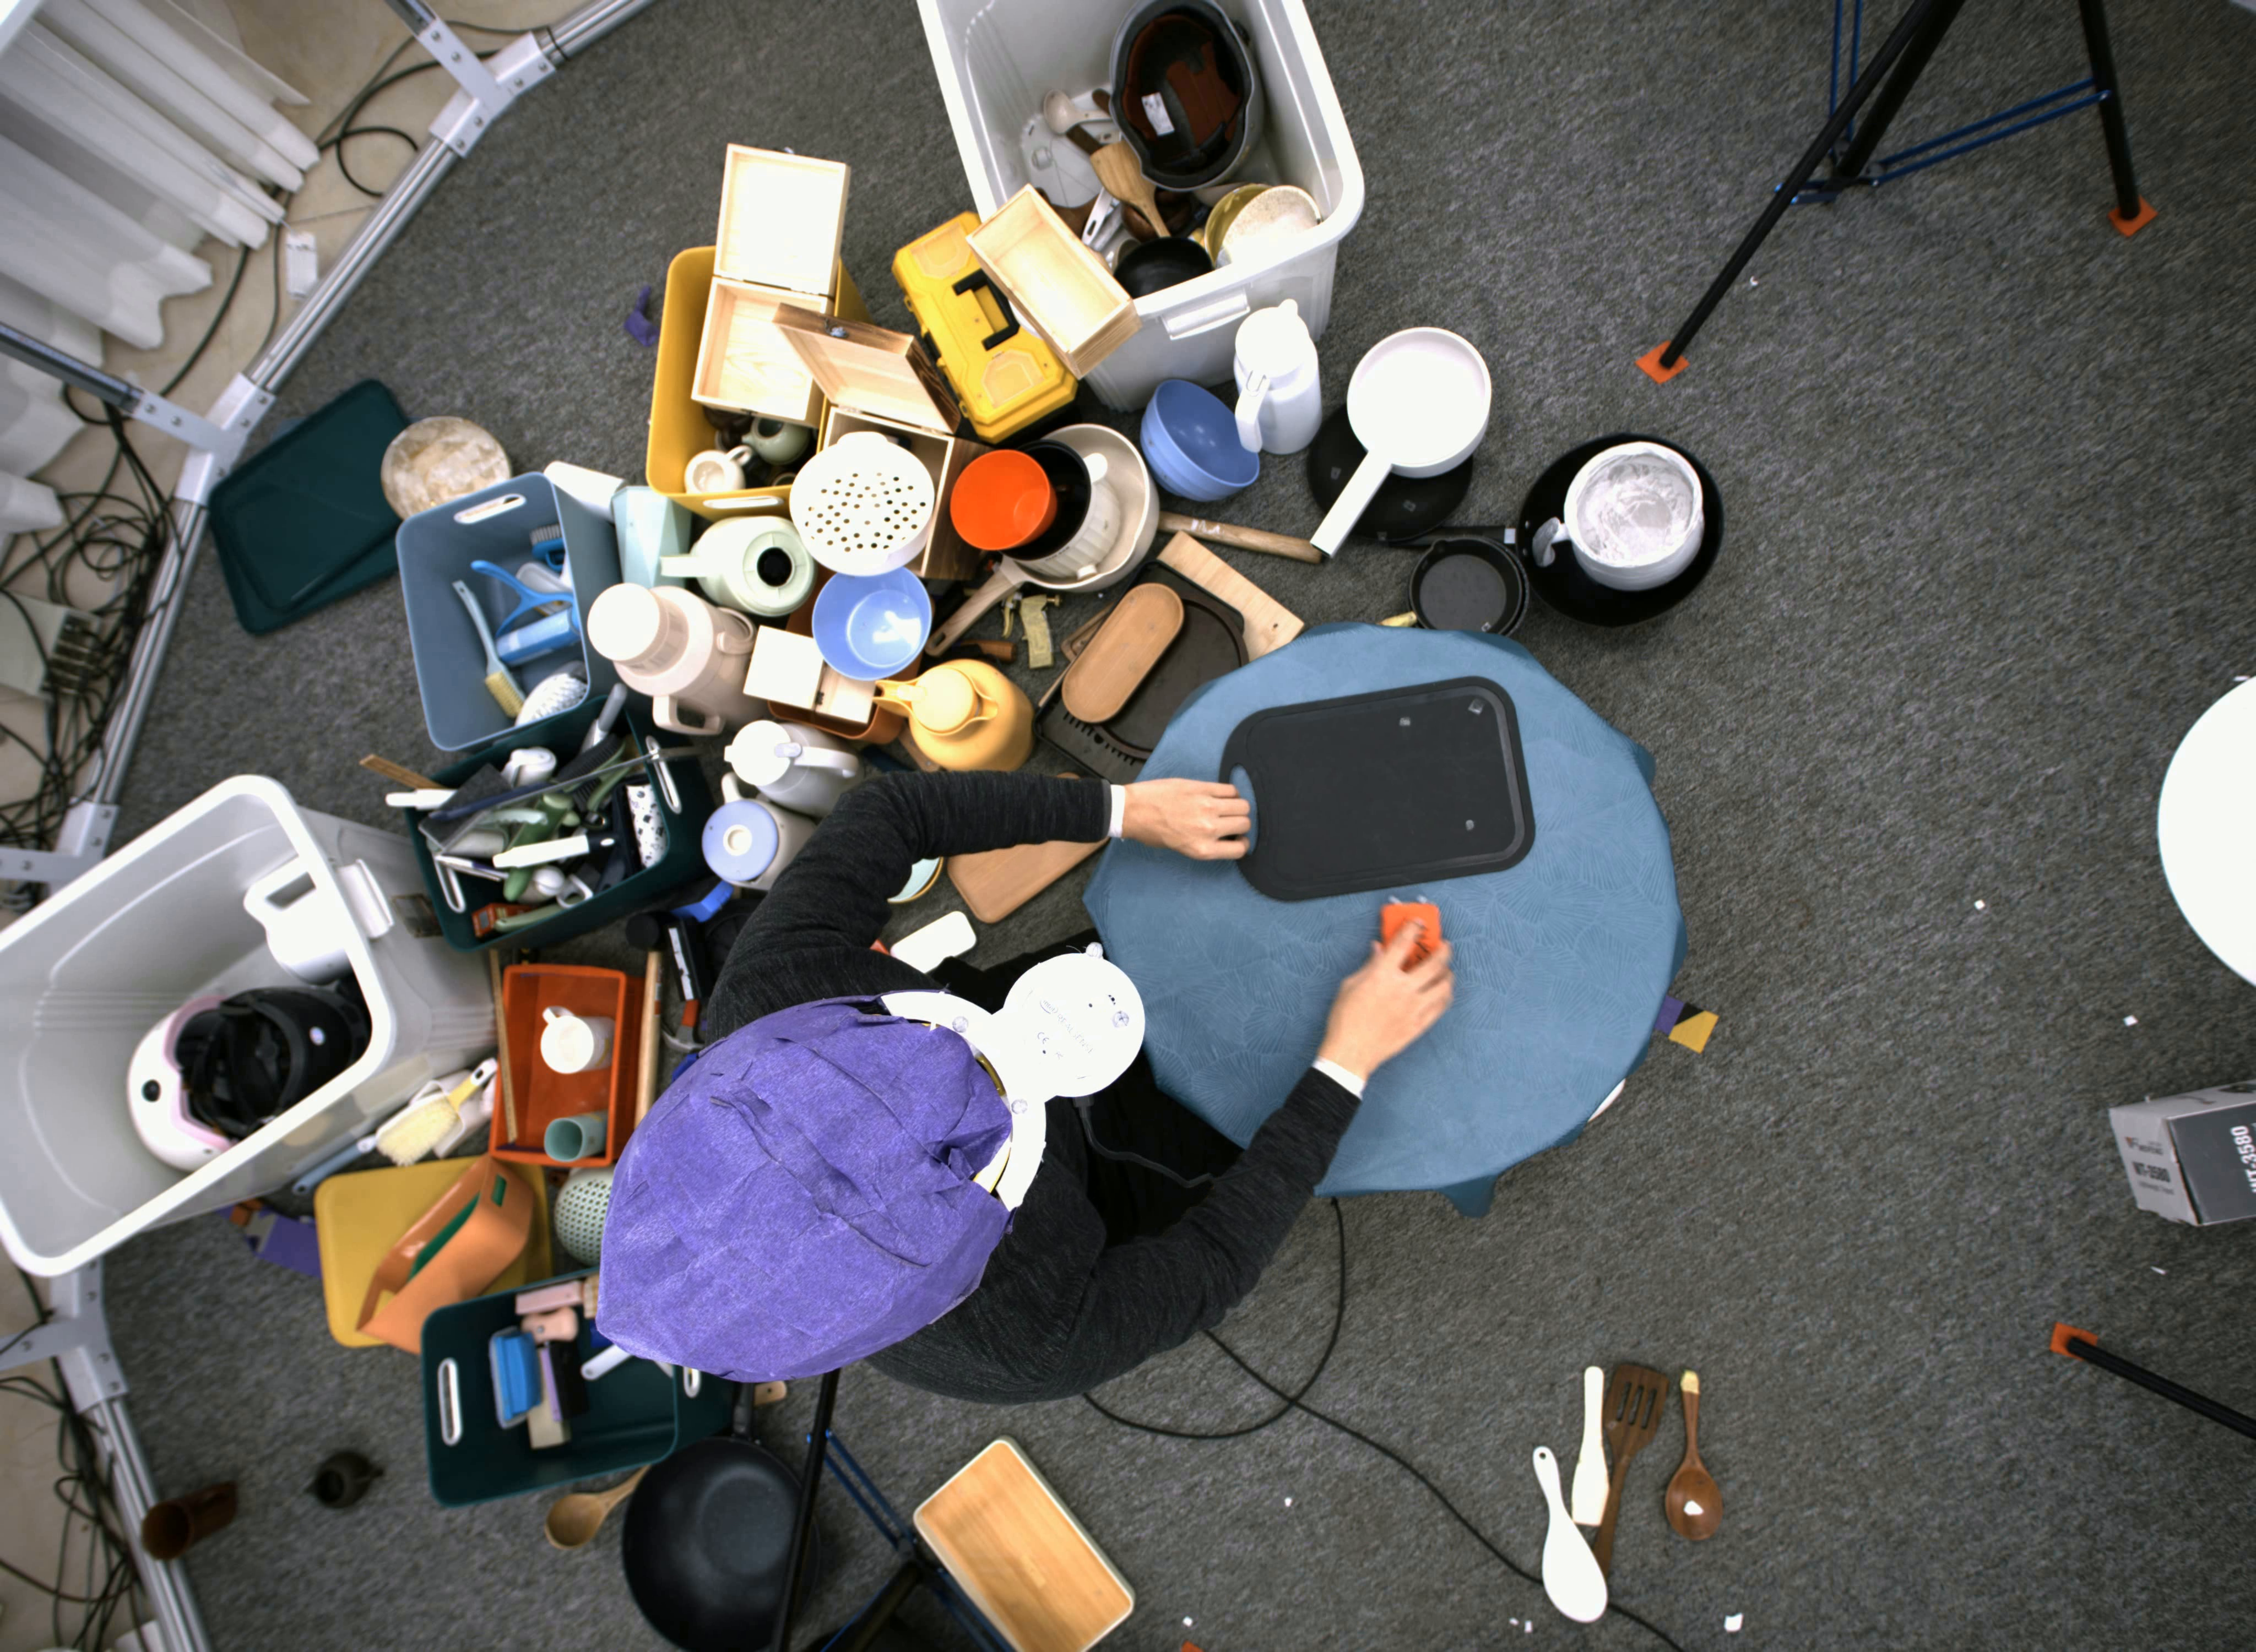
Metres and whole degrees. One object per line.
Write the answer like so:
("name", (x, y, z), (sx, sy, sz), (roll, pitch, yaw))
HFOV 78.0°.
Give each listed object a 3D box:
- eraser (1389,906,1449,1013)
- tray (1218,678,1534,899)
("eraser", (0.300, 0.136, 1.427), (0.059, 0.023, 0.108), (-2, 94, 6))
("tray", (0.258, -0.039, 1.463), (0.327, 0.010, 0.210), (-8, 85, 9))
